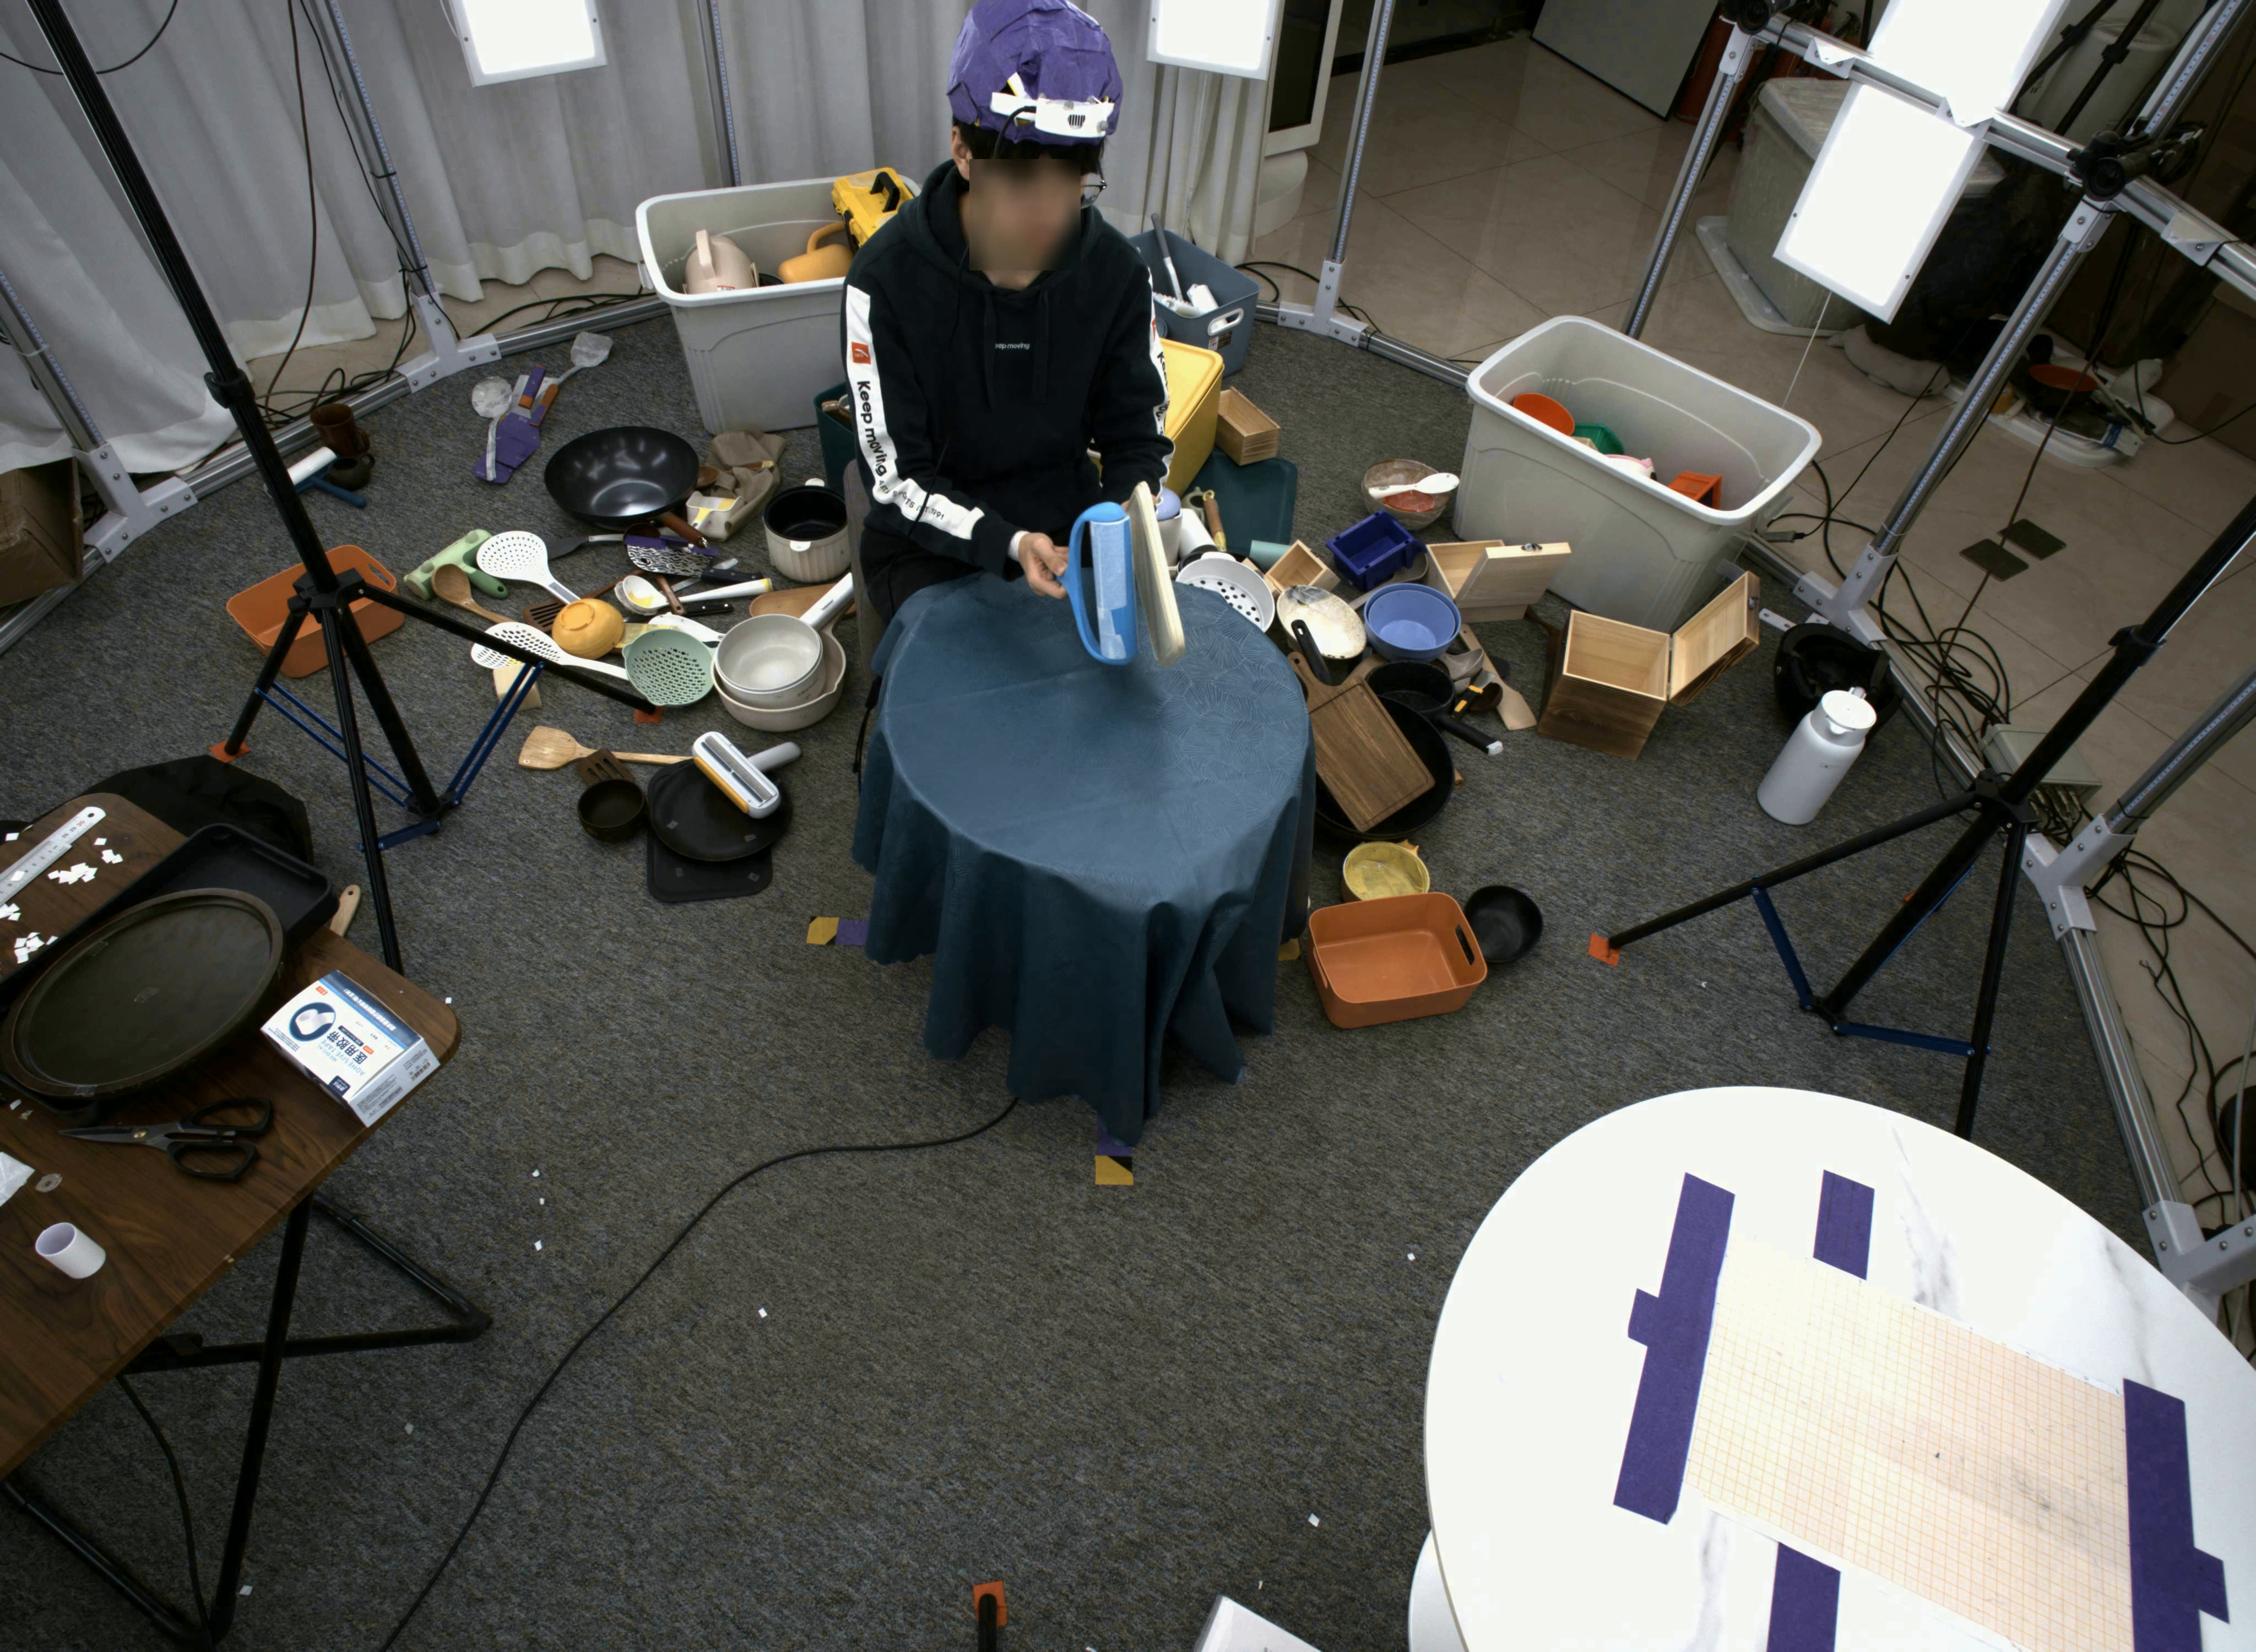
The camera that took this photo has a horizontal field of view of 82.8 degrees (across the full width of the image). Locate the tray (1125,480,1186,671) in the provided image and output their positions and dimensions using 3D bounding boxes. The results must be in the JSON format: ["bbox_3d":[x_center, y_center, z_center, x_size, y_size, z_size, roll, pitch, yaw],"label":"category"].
[{"bbox_3d":[0.034,-0.335,1.748,0.017,0.170,0.240,-13,87,-8],"label":"tray"}]

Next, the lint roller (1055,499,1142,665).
[{"bbox_3d":[-0.056,-0.340,1.758,0.068,0.224,0.183,-28,35,-33],"label":"lint roller"}]
